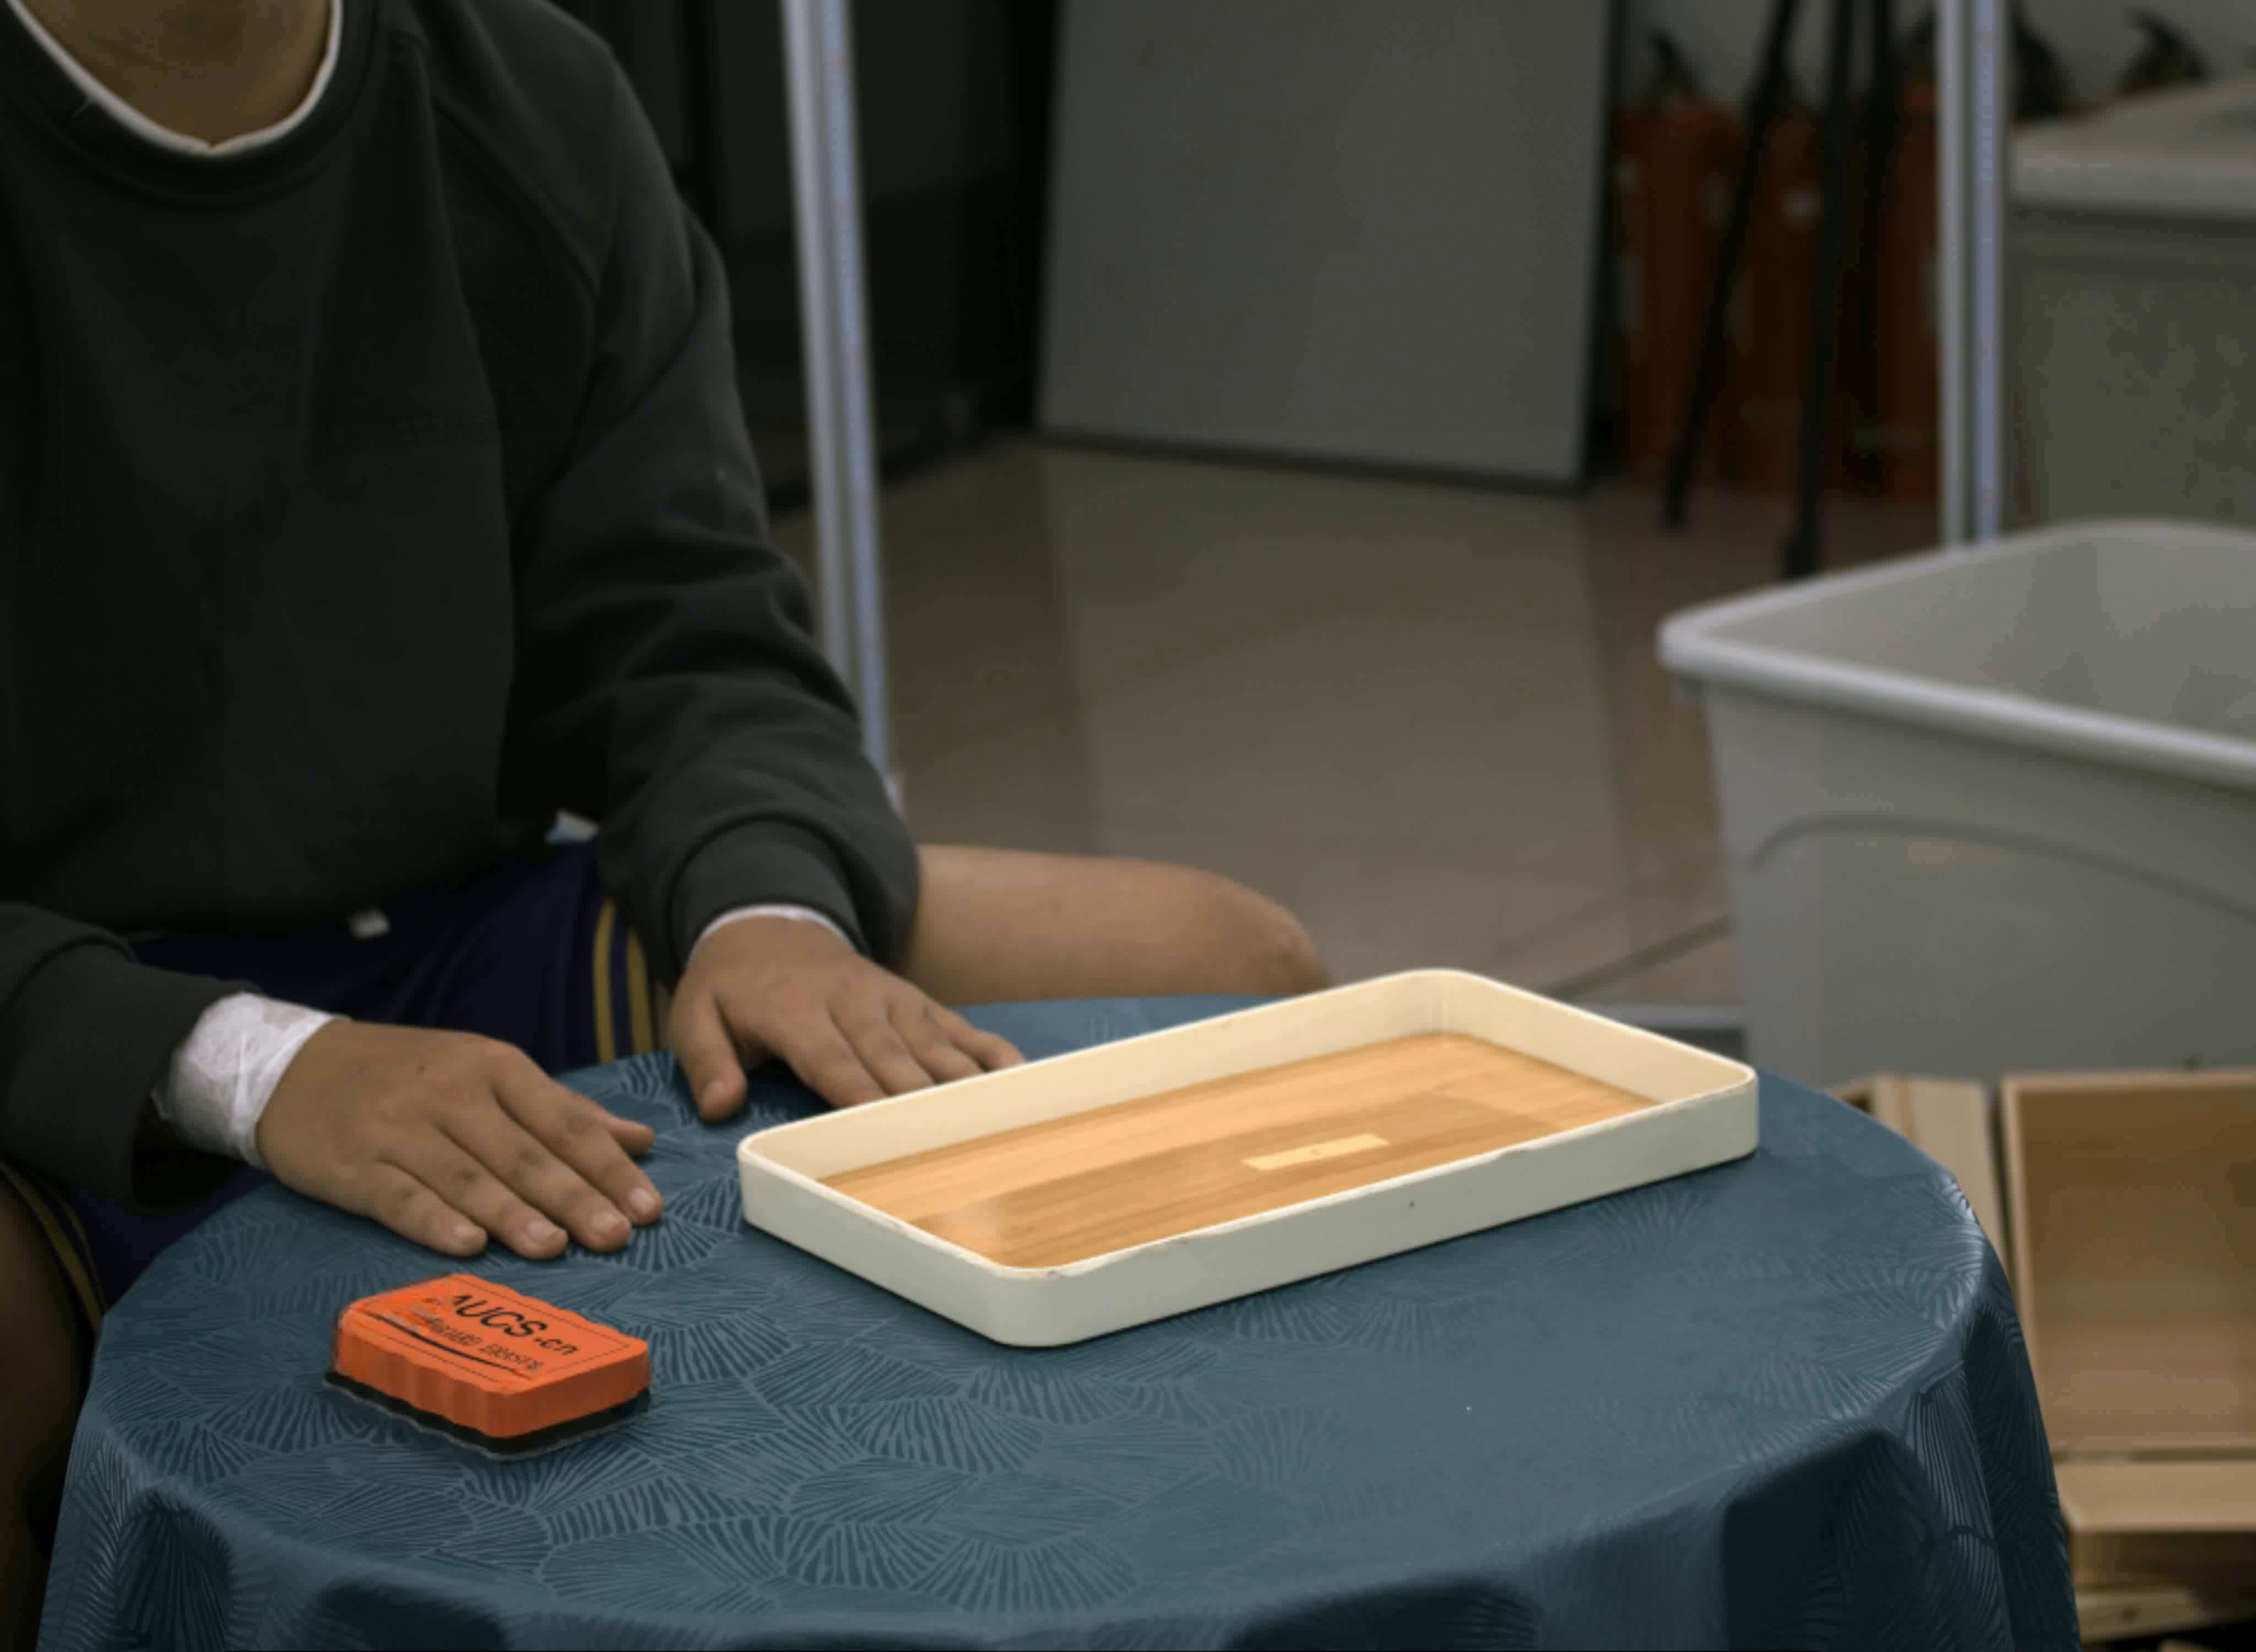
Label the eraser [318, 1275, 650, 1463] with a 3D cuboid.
[{"bbox_3d":[-0.191,0.161,1.610,0.058,0.023,0.109,-16,18,-36],"label":"eraser"}]

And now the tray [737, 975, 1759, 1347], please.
[{"bbox_3d":[0.040,0.106,1.764,0.293,0.028,0.193,-12,16,-30],"label":"tray"}]
